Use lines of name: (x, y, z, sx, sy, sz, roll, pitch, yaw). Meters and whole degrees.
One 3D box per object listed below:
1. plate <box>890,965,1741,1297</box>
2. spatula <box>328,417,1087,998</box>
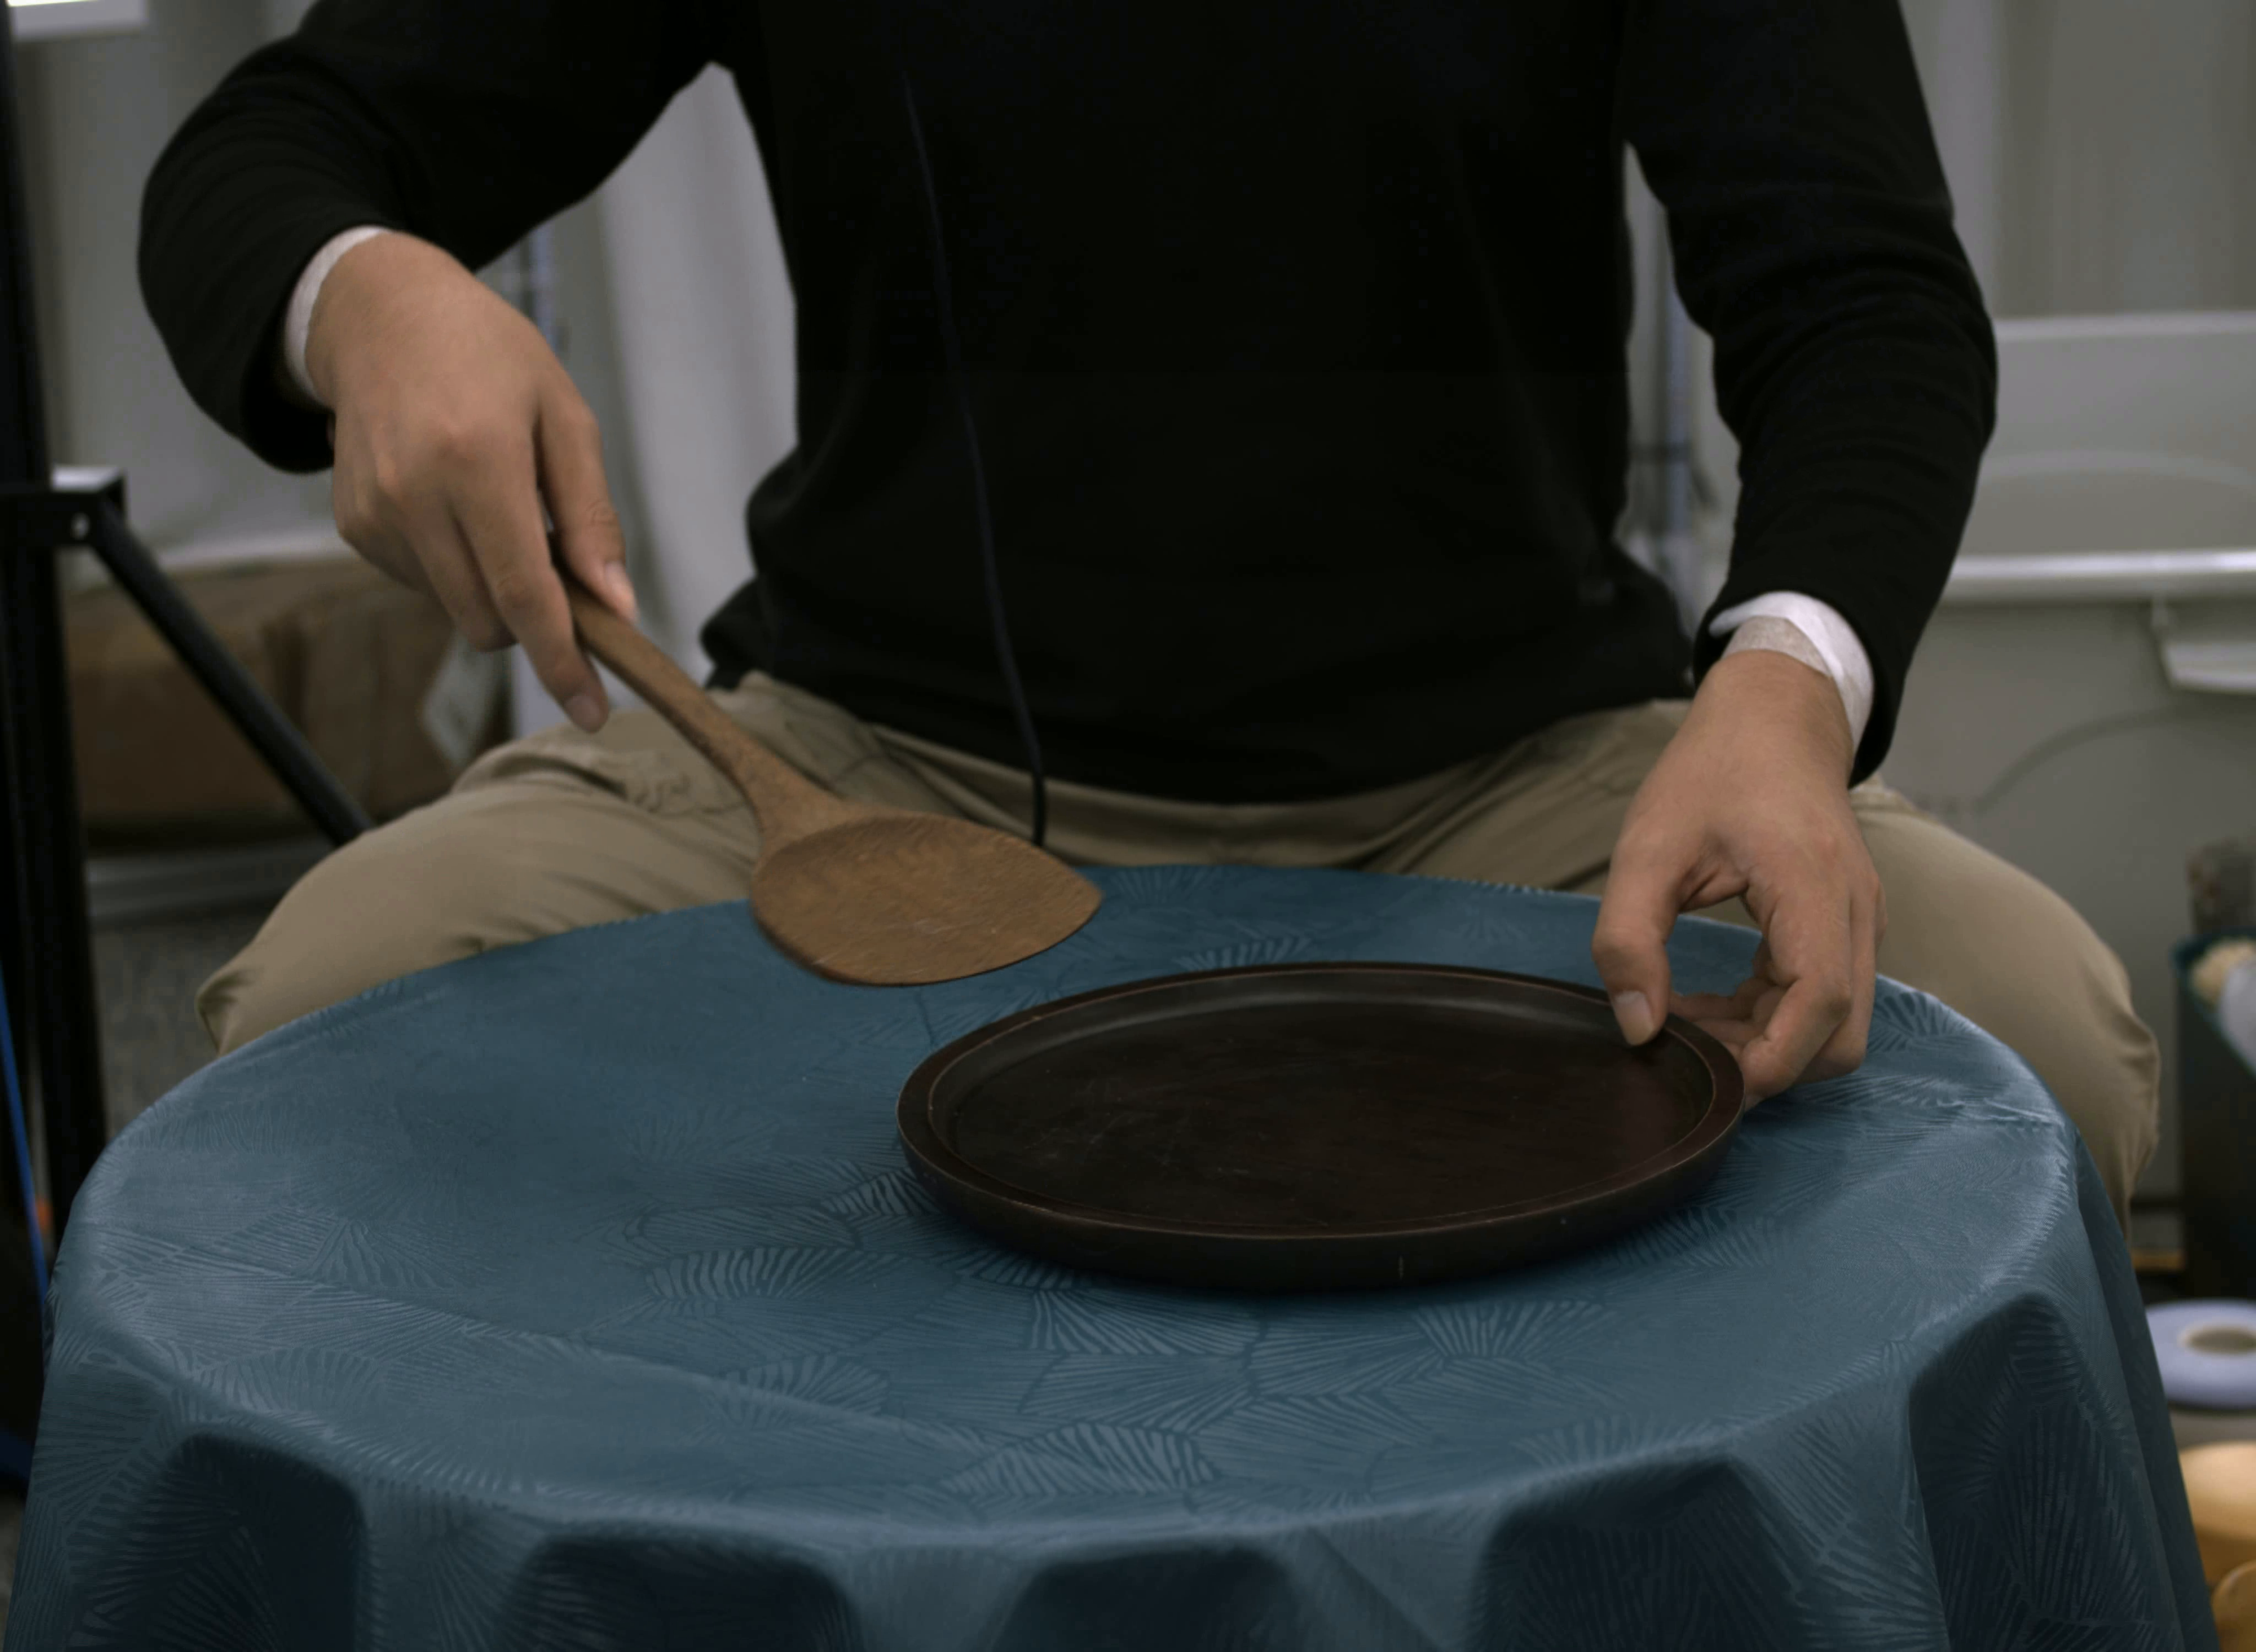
plate: (0.056, 0.088, 1.575, 0.253, 0.029, 0.256, -4, 15, 0)
spatula: (-0.150, -0.046, 1.645, 0.094, 0.016, 0.395, -18, 38, -29)
